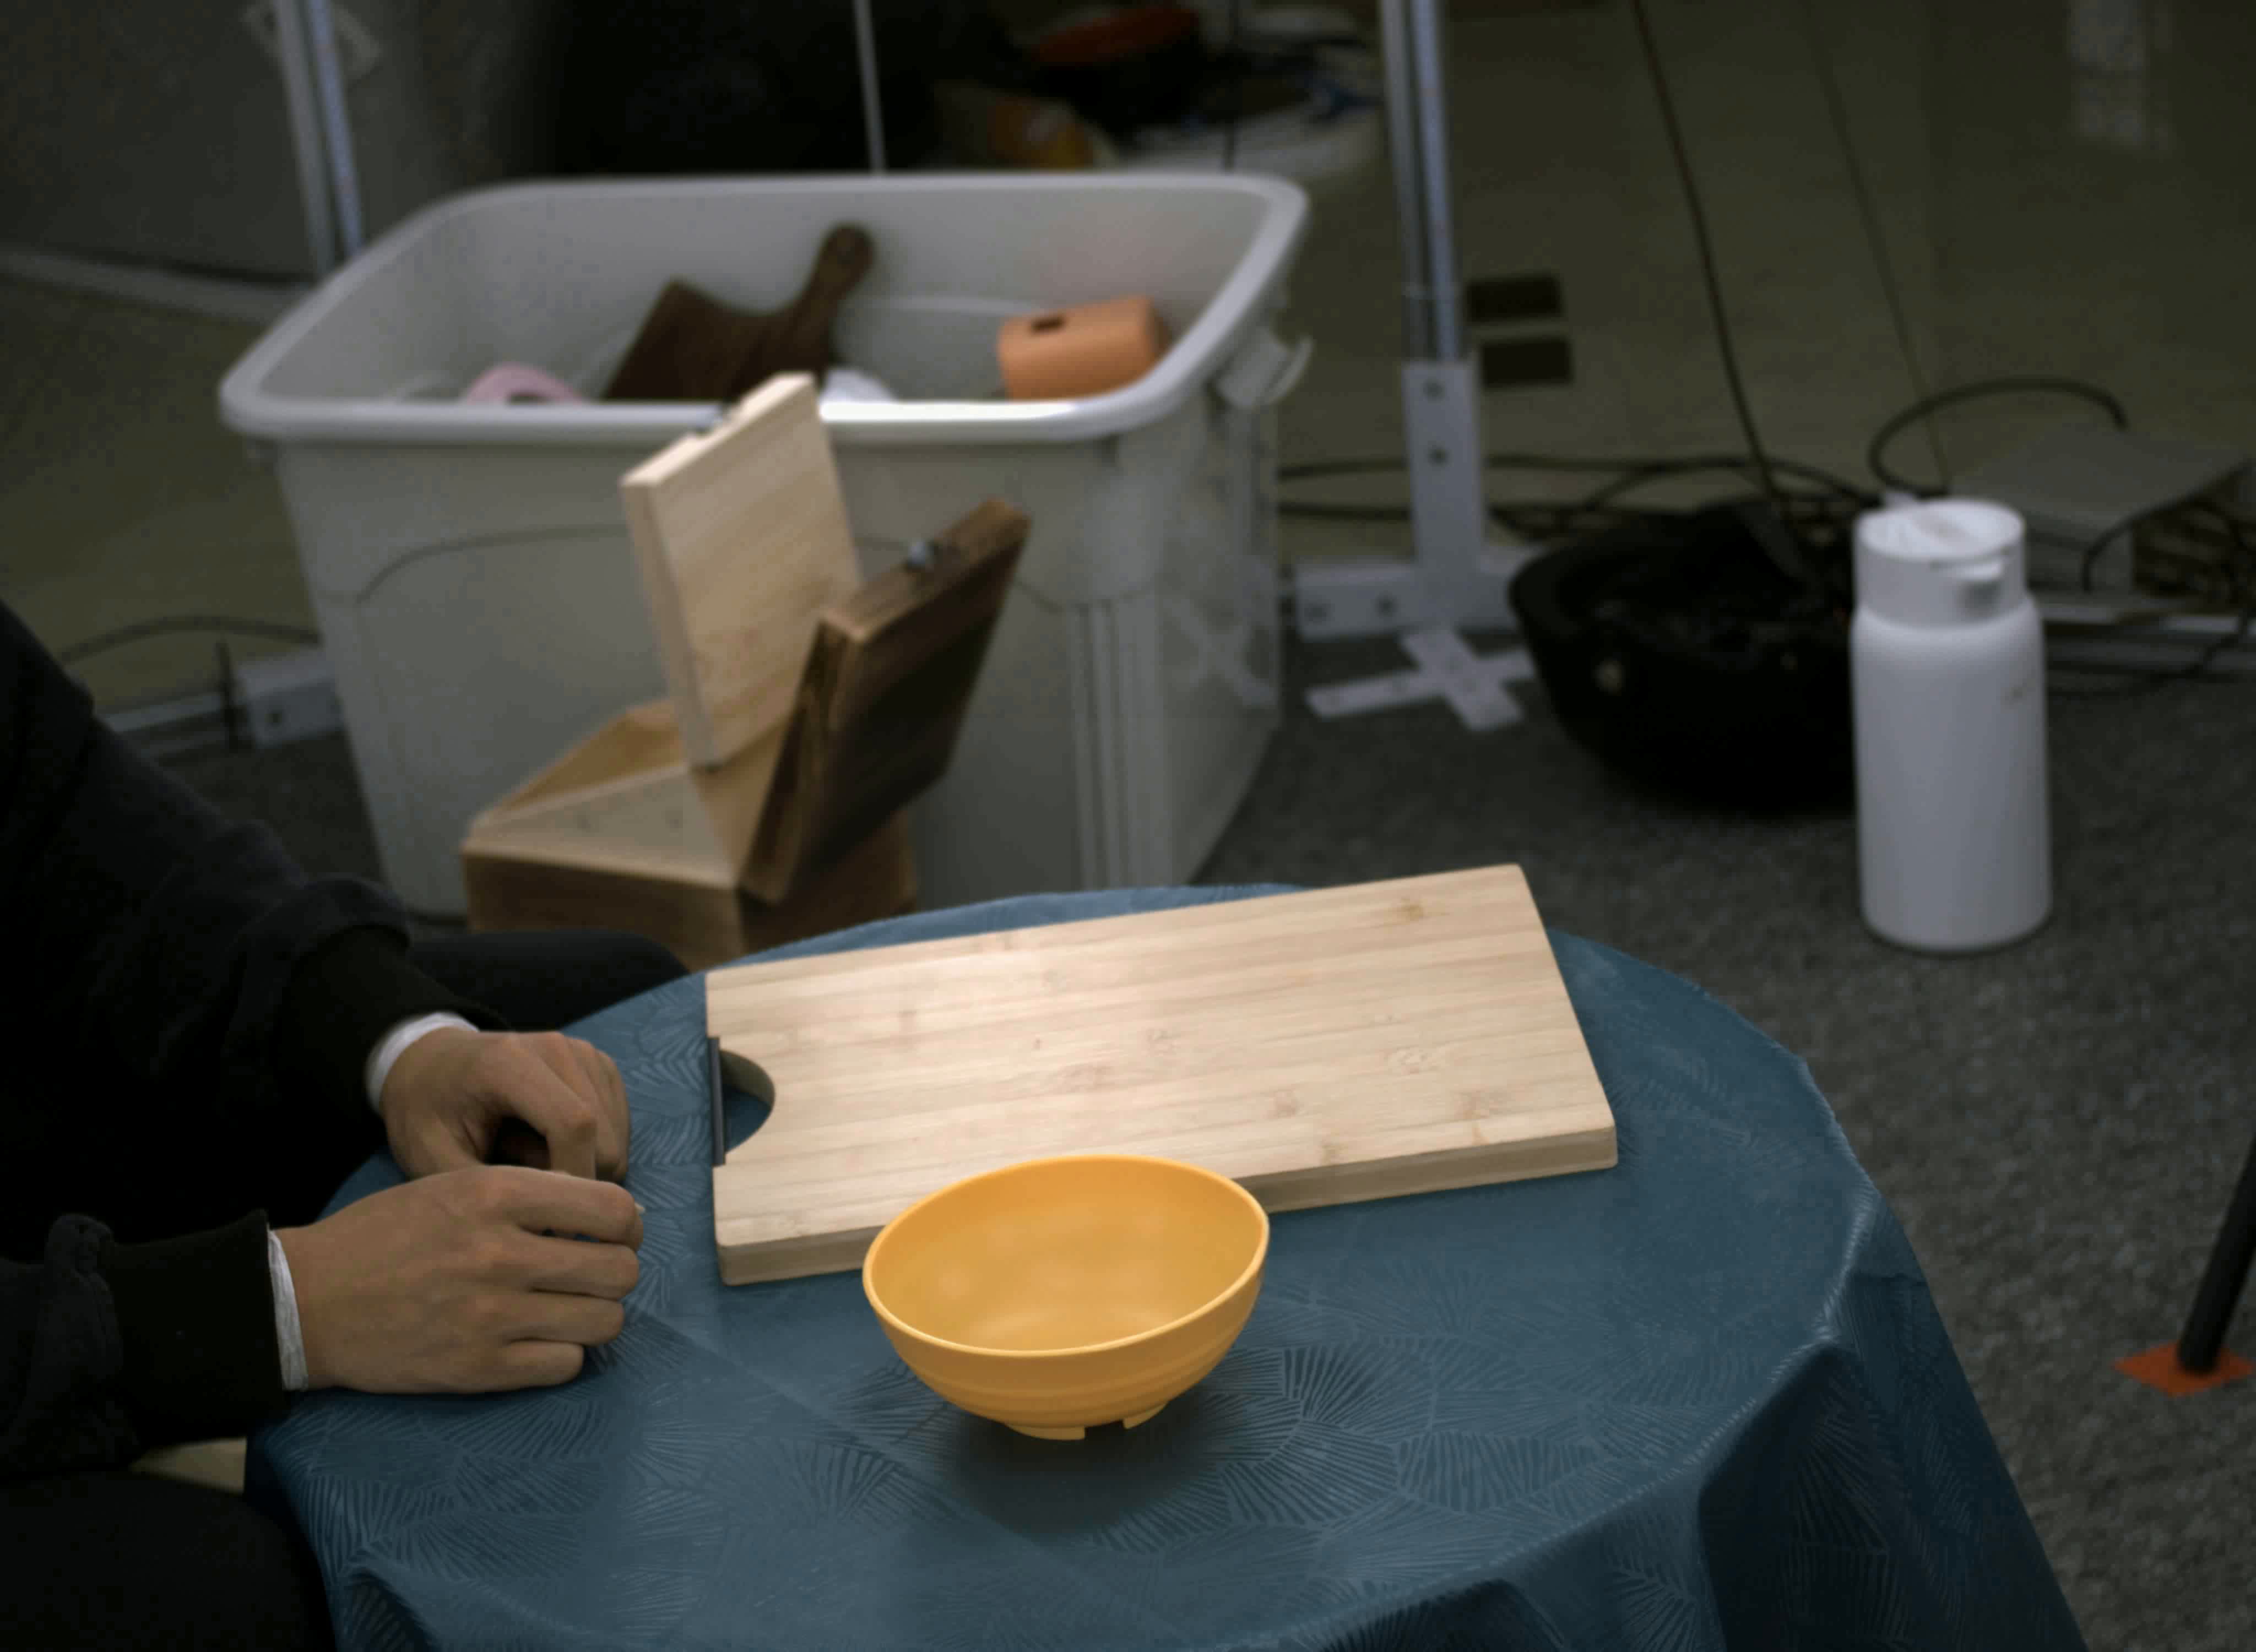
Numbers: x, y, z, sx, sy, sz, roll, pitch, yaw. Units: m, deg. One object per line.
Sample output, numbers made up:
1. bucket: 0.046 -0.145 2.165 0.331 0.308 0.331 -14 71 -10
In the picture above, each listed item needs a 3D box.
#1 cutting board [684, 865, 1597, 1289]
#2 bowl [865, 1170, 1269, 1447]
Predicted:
1. cutting board: 0.000 0.095 2.228 0.348 0.024 0.247 -8 25 -3
2. bowl: -0.018 0.178 2.007 0.145 0.061 0.143 -7 23 3
